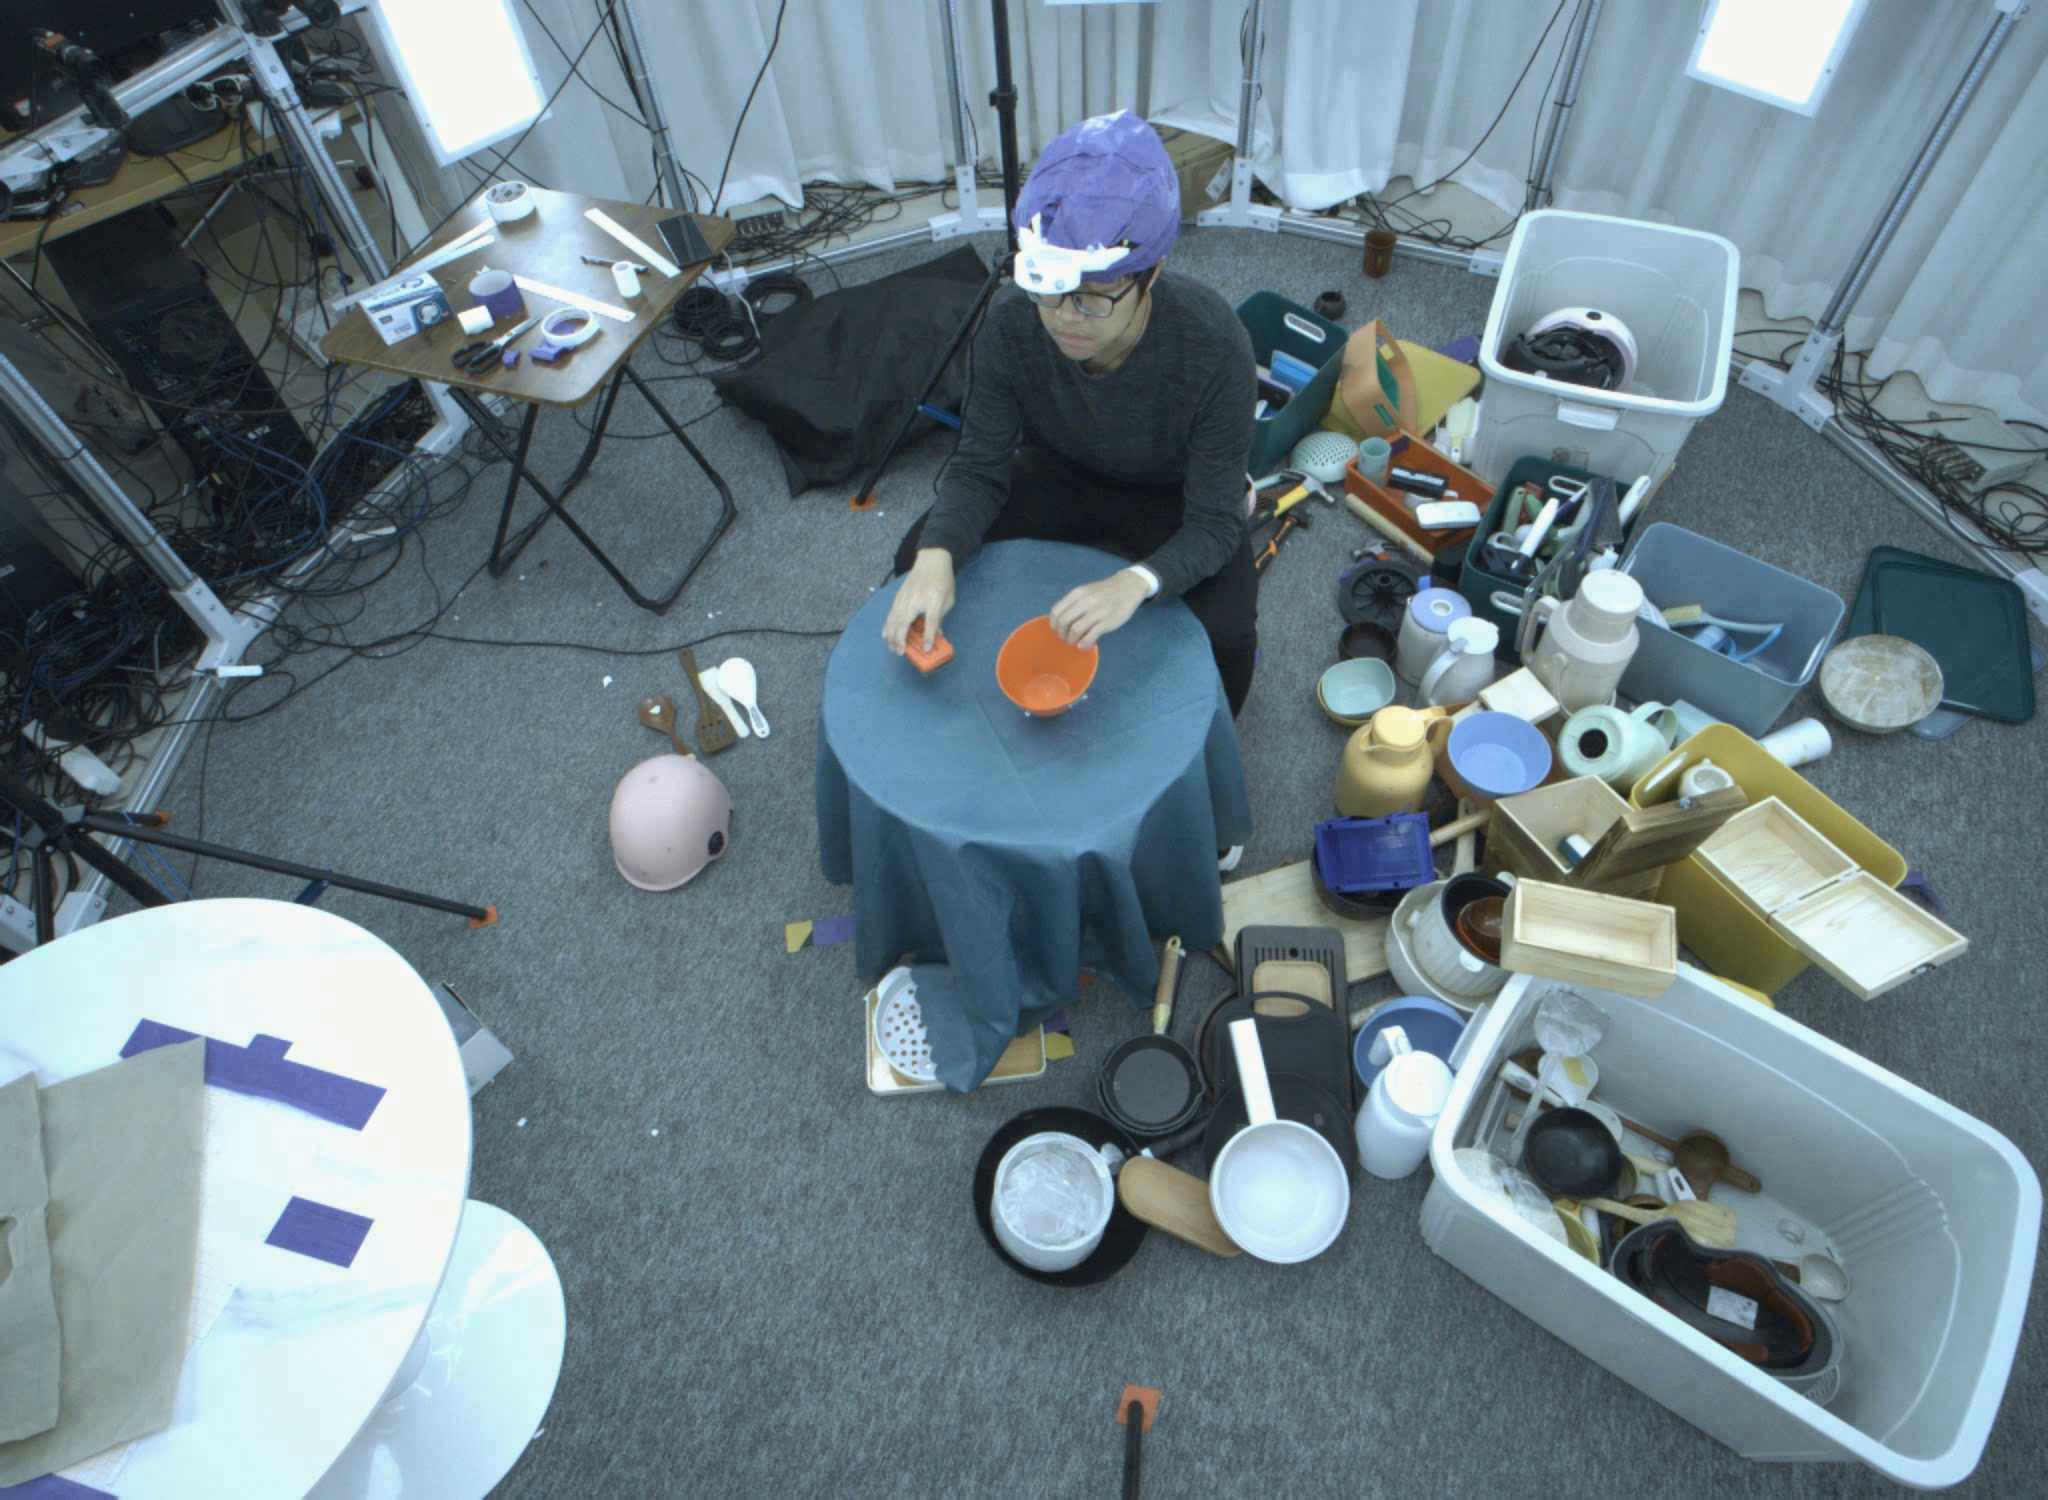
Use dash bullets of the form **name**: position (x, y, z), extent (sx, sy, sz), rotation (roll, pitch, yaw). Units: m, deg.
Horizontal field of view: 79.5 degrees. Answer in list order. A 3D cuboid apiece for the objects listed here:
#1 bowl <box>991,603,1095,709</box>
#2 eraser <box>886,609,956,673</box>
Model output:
- **bowl**: position (0.031, -0.132, 1.747), extent (0.147, 0.105, 0.148), rotation (0, 94, 5)
- **eraser**: position (-0.153, -0.162, 1.812), extent (0.059, 0.023, 0.106), rotation (-35, 60, -17)
